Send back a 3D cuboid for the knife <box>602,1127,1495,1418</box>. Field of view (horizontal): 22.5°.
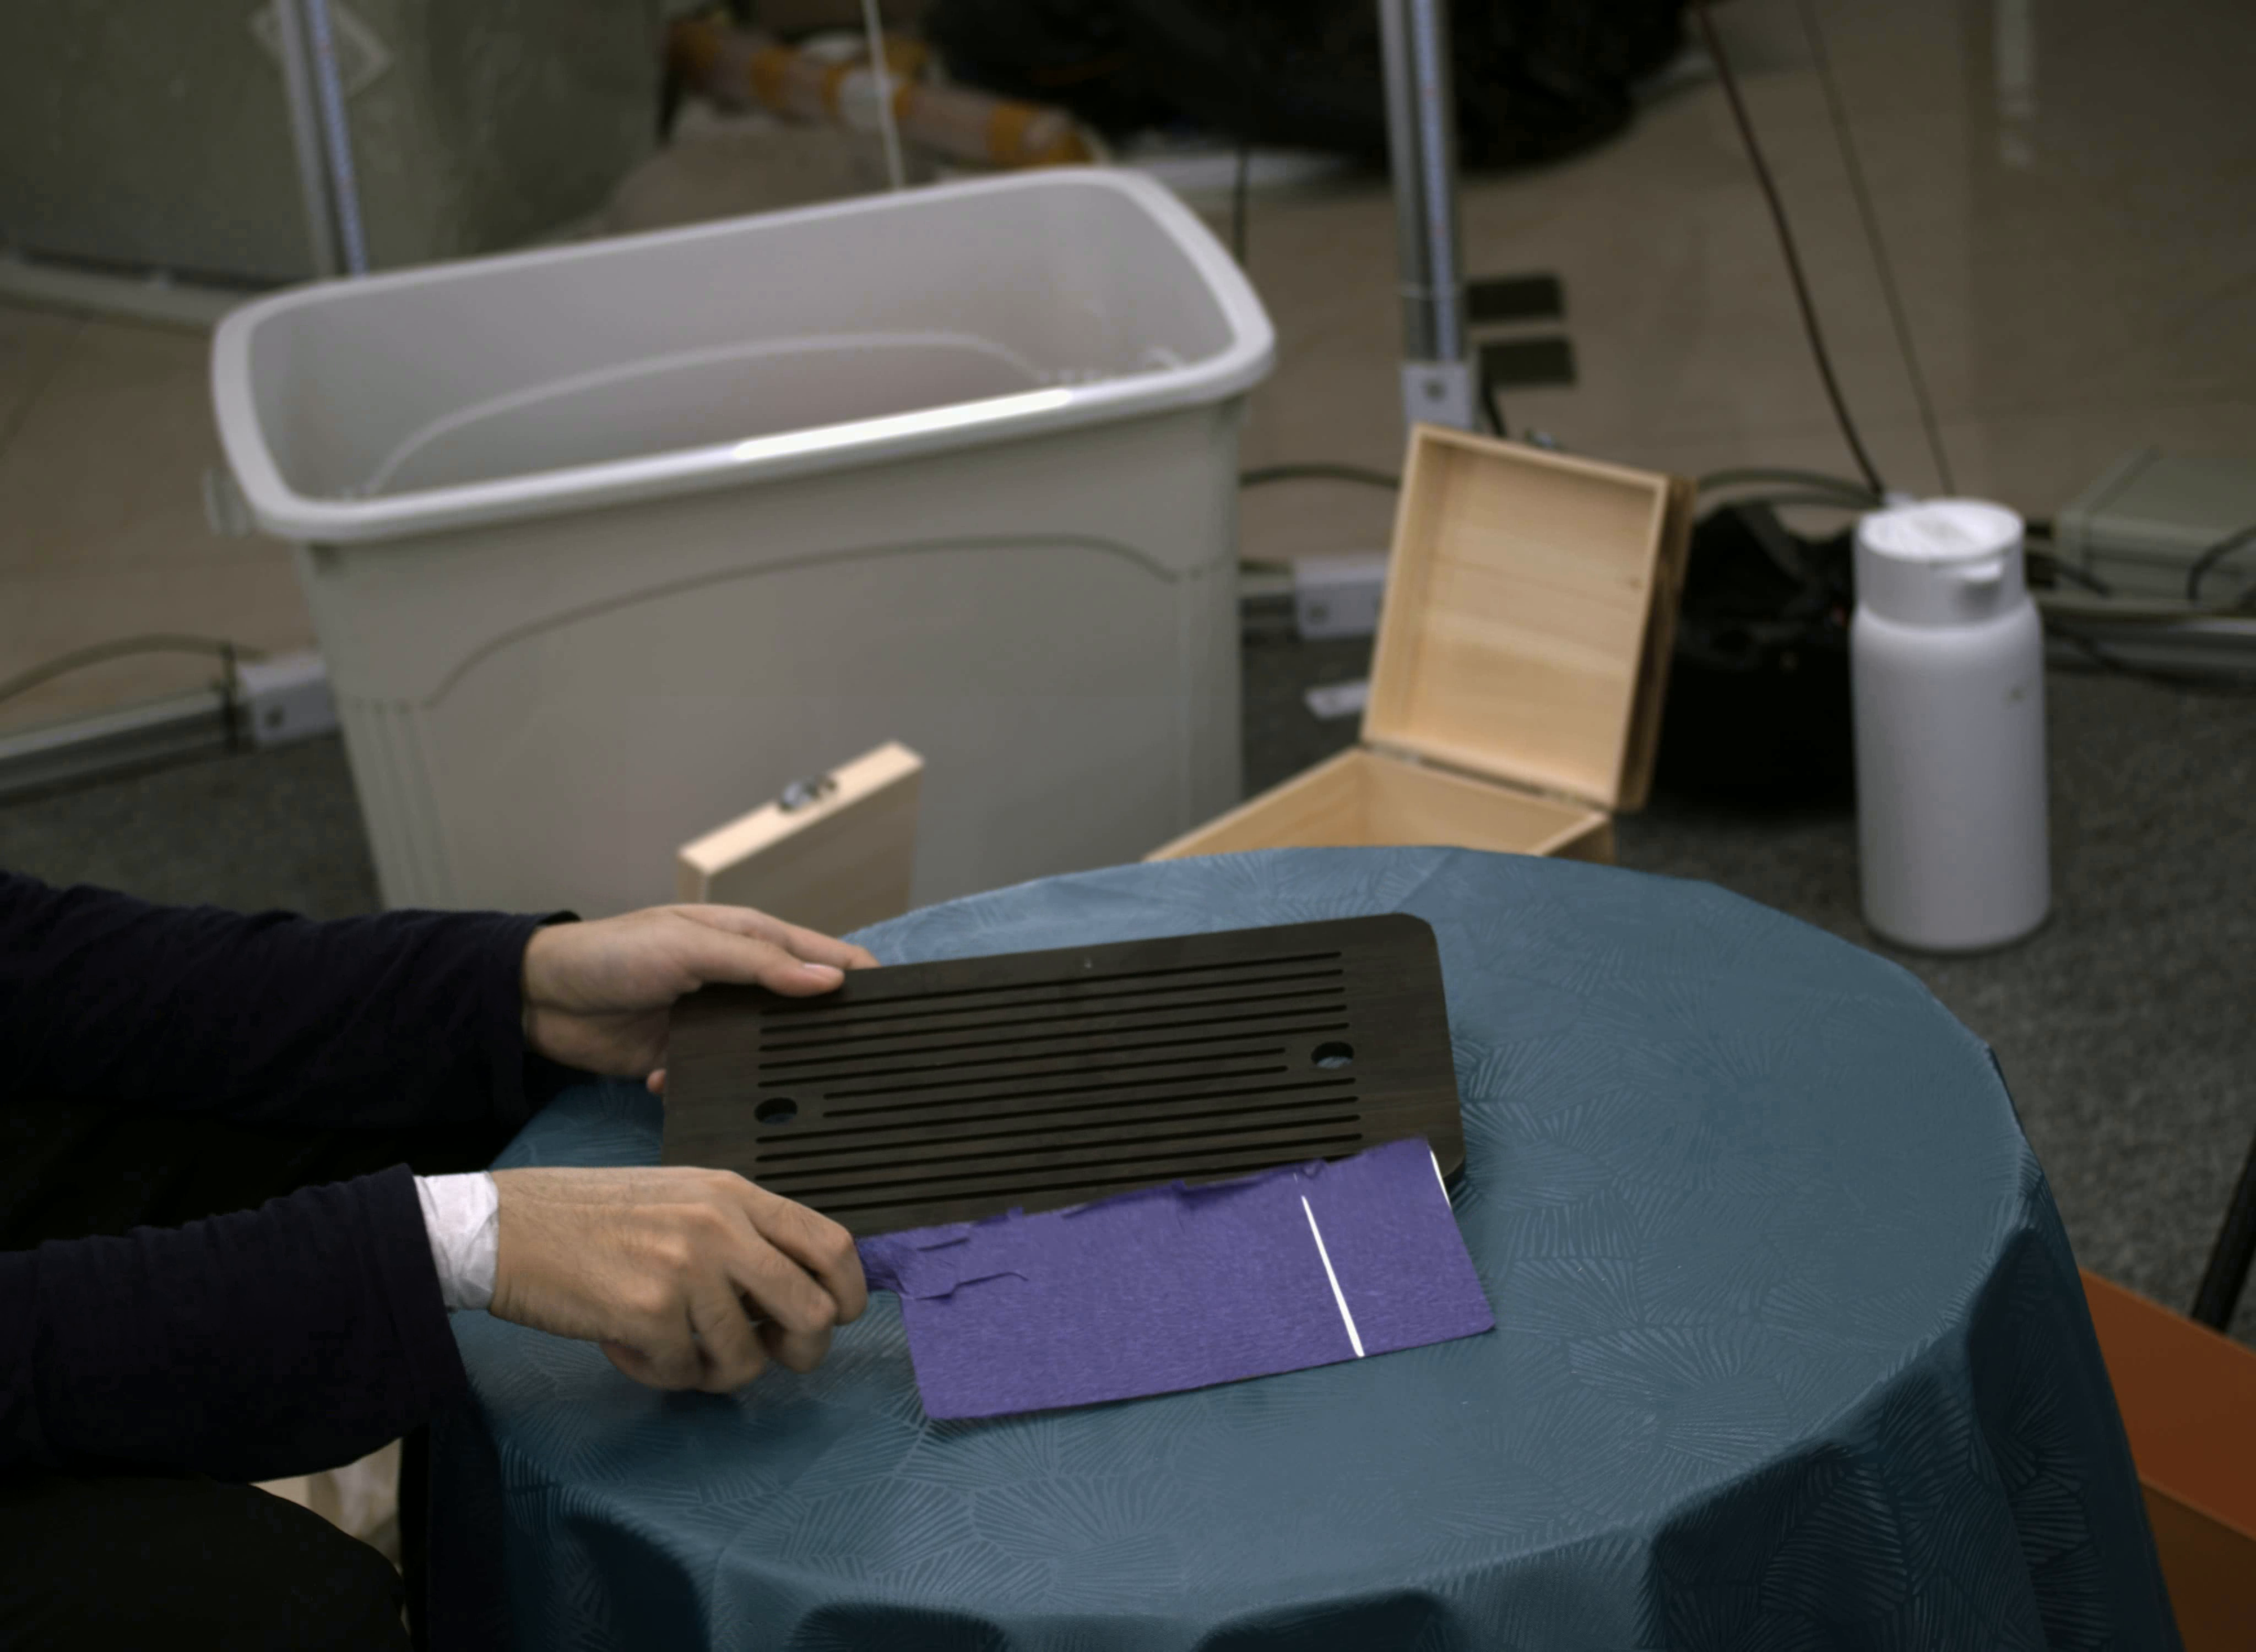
[{"bbox_3d":[-0.028,0.168,2.035,0.314,0.033,0.102,-11,43,-8],"label":"knife"}]

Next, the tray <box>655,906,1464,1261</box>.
[{"bbox_3d":[-0.028,0.101,2.183,0.305,0.019,0.167,-6,36,2],"label":"tray"}]
